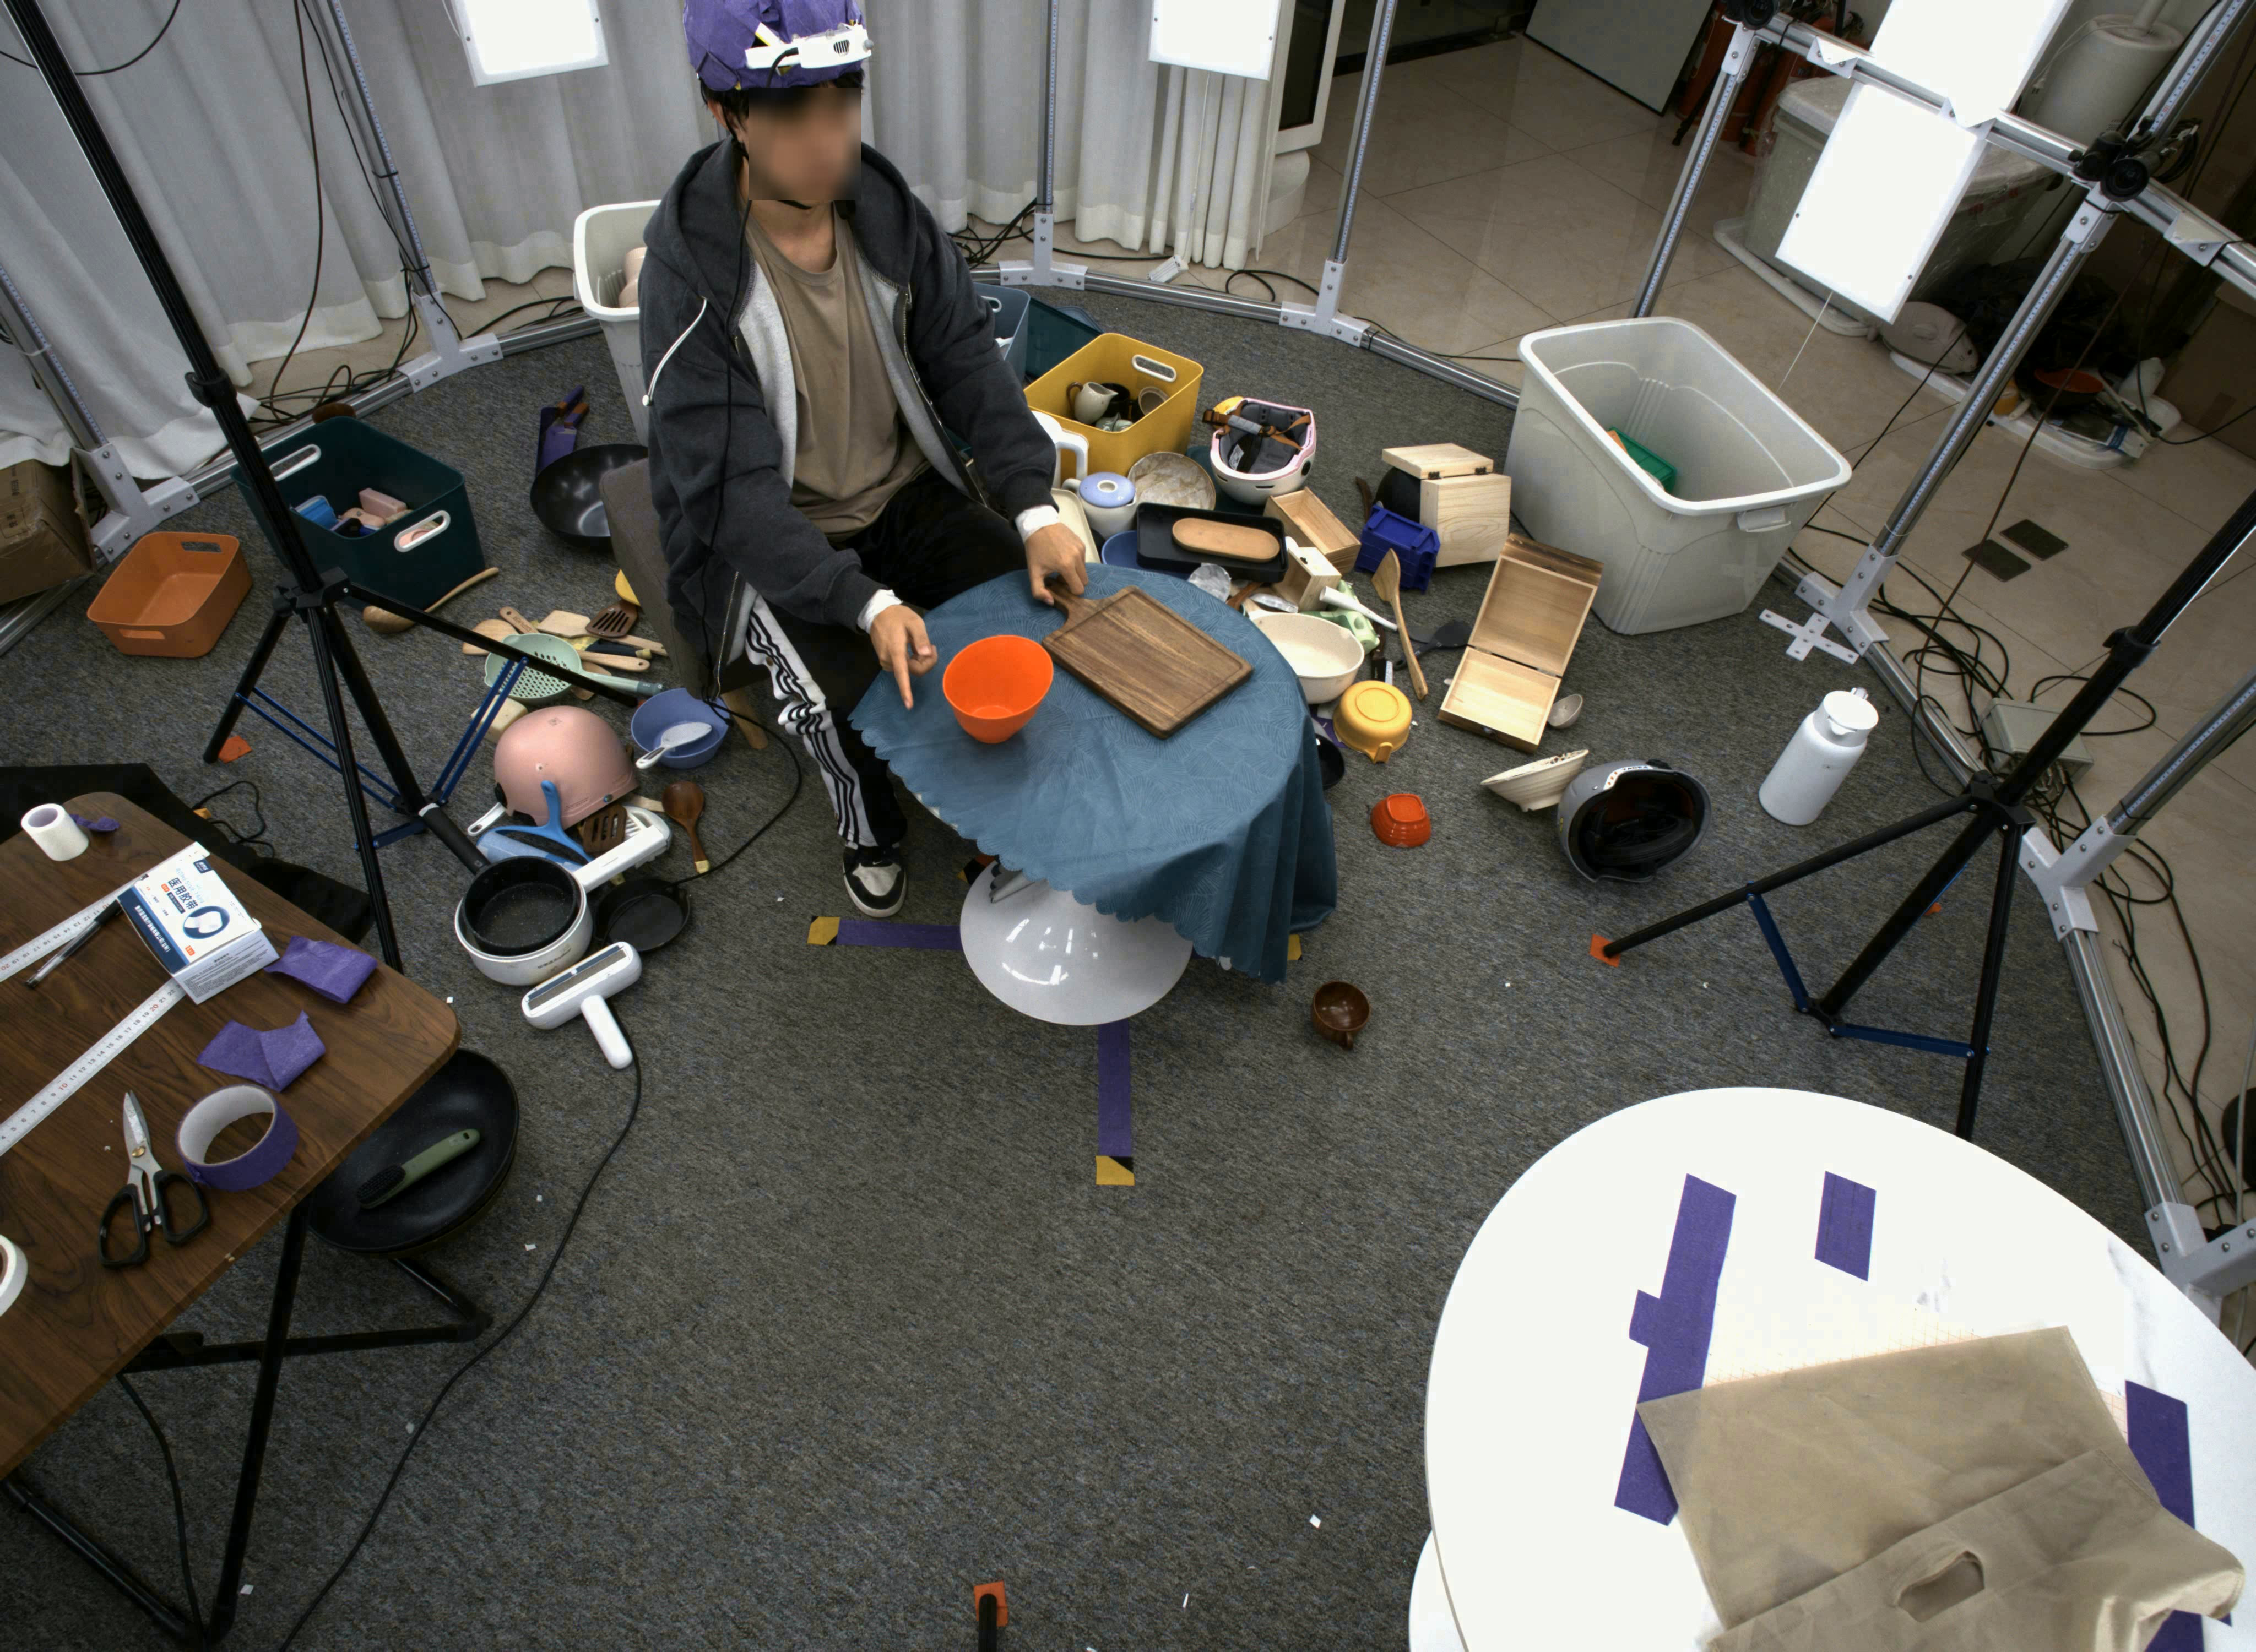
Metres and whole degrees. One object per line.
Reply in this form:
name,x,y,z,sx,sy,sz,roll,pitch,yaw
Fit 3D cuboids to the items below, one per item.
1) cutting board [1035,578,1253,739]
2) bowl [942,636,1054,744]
cutting board,-0.008,-0.272,1.890,0.357,0.022,0.203,38,56,26
bowl,-0.175,-0.173,1.739,0.148,0.102,0.152,2,50,-3
